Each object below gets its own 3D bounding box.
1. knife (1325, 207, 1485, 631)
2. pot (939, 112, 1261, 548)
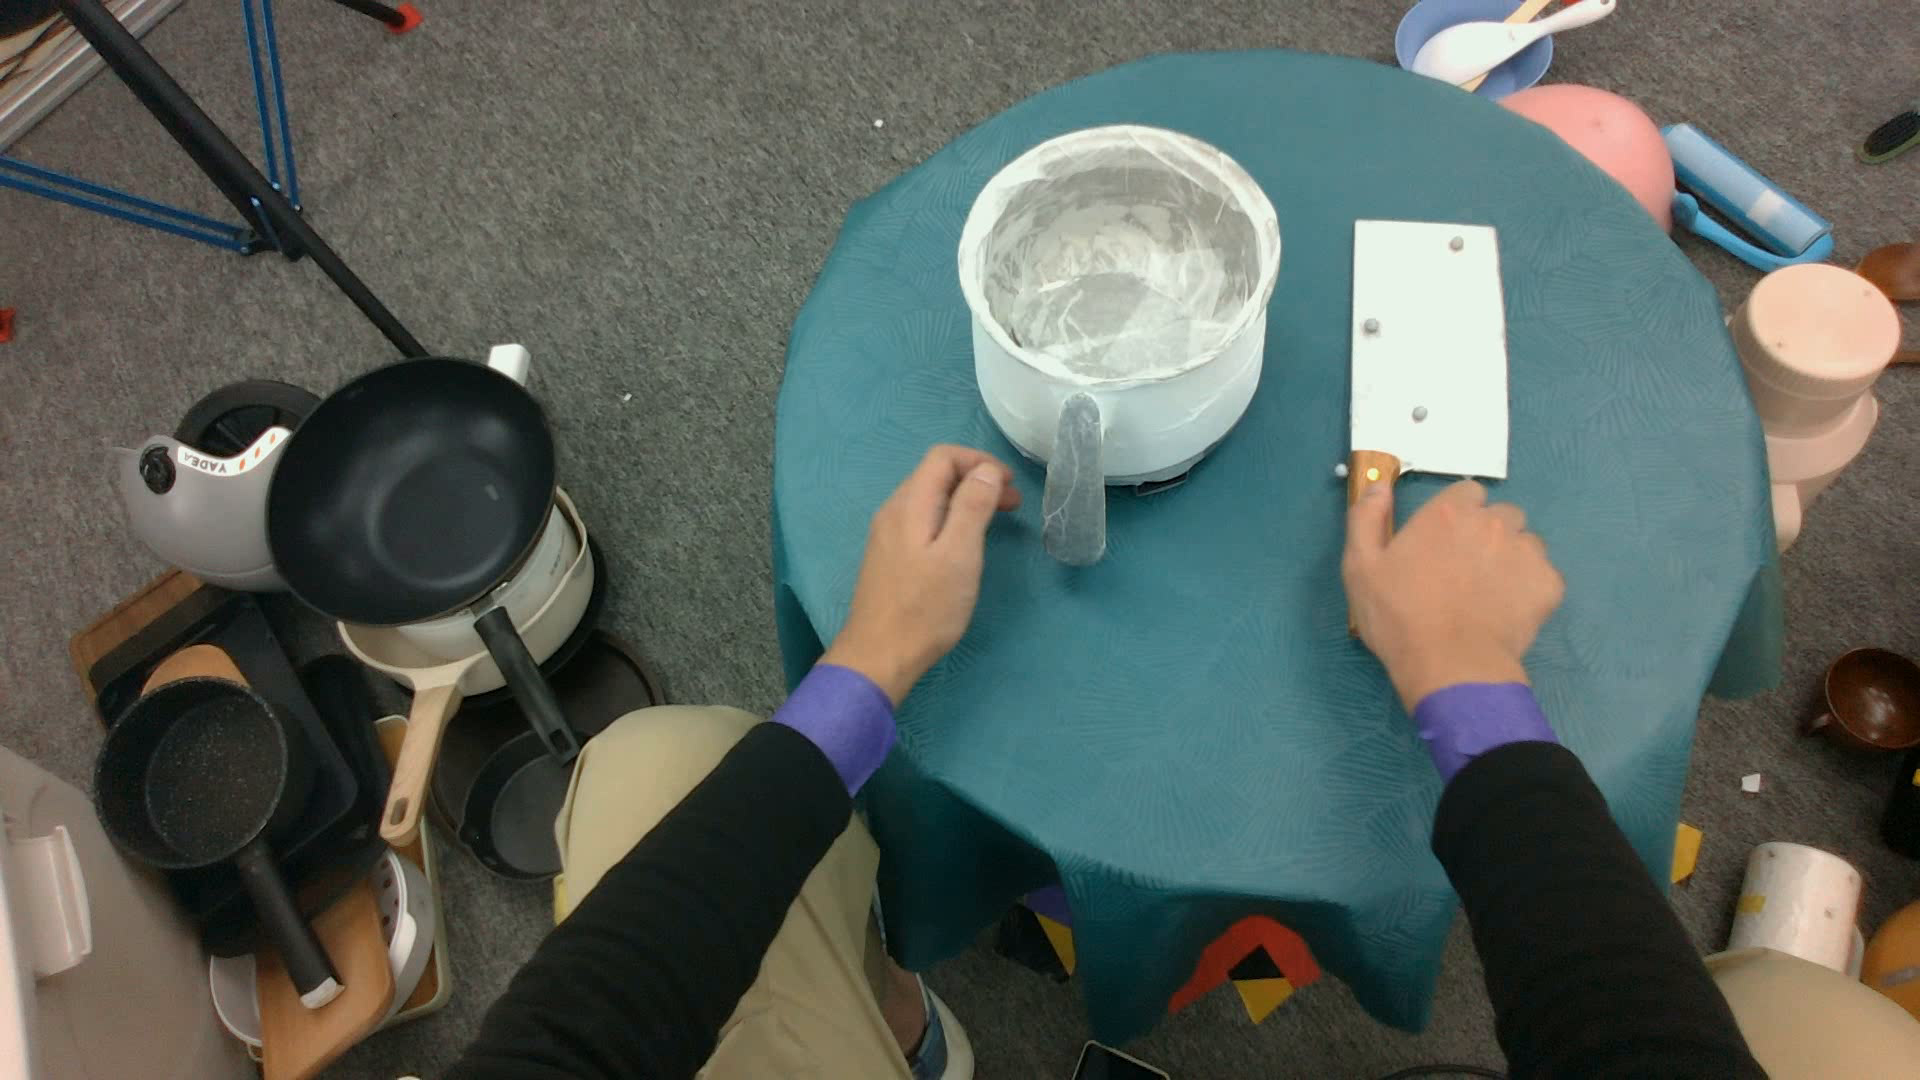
[{"bbox_3d":[0.270,-0.084,0.838,0.093,0.021,0.307,4,63,9],"label":"knife"},{"bbox_3d":[0.078,-0.117,0.804,0.178,0.136,0.234,7,64,10],"label":"pot"}]
